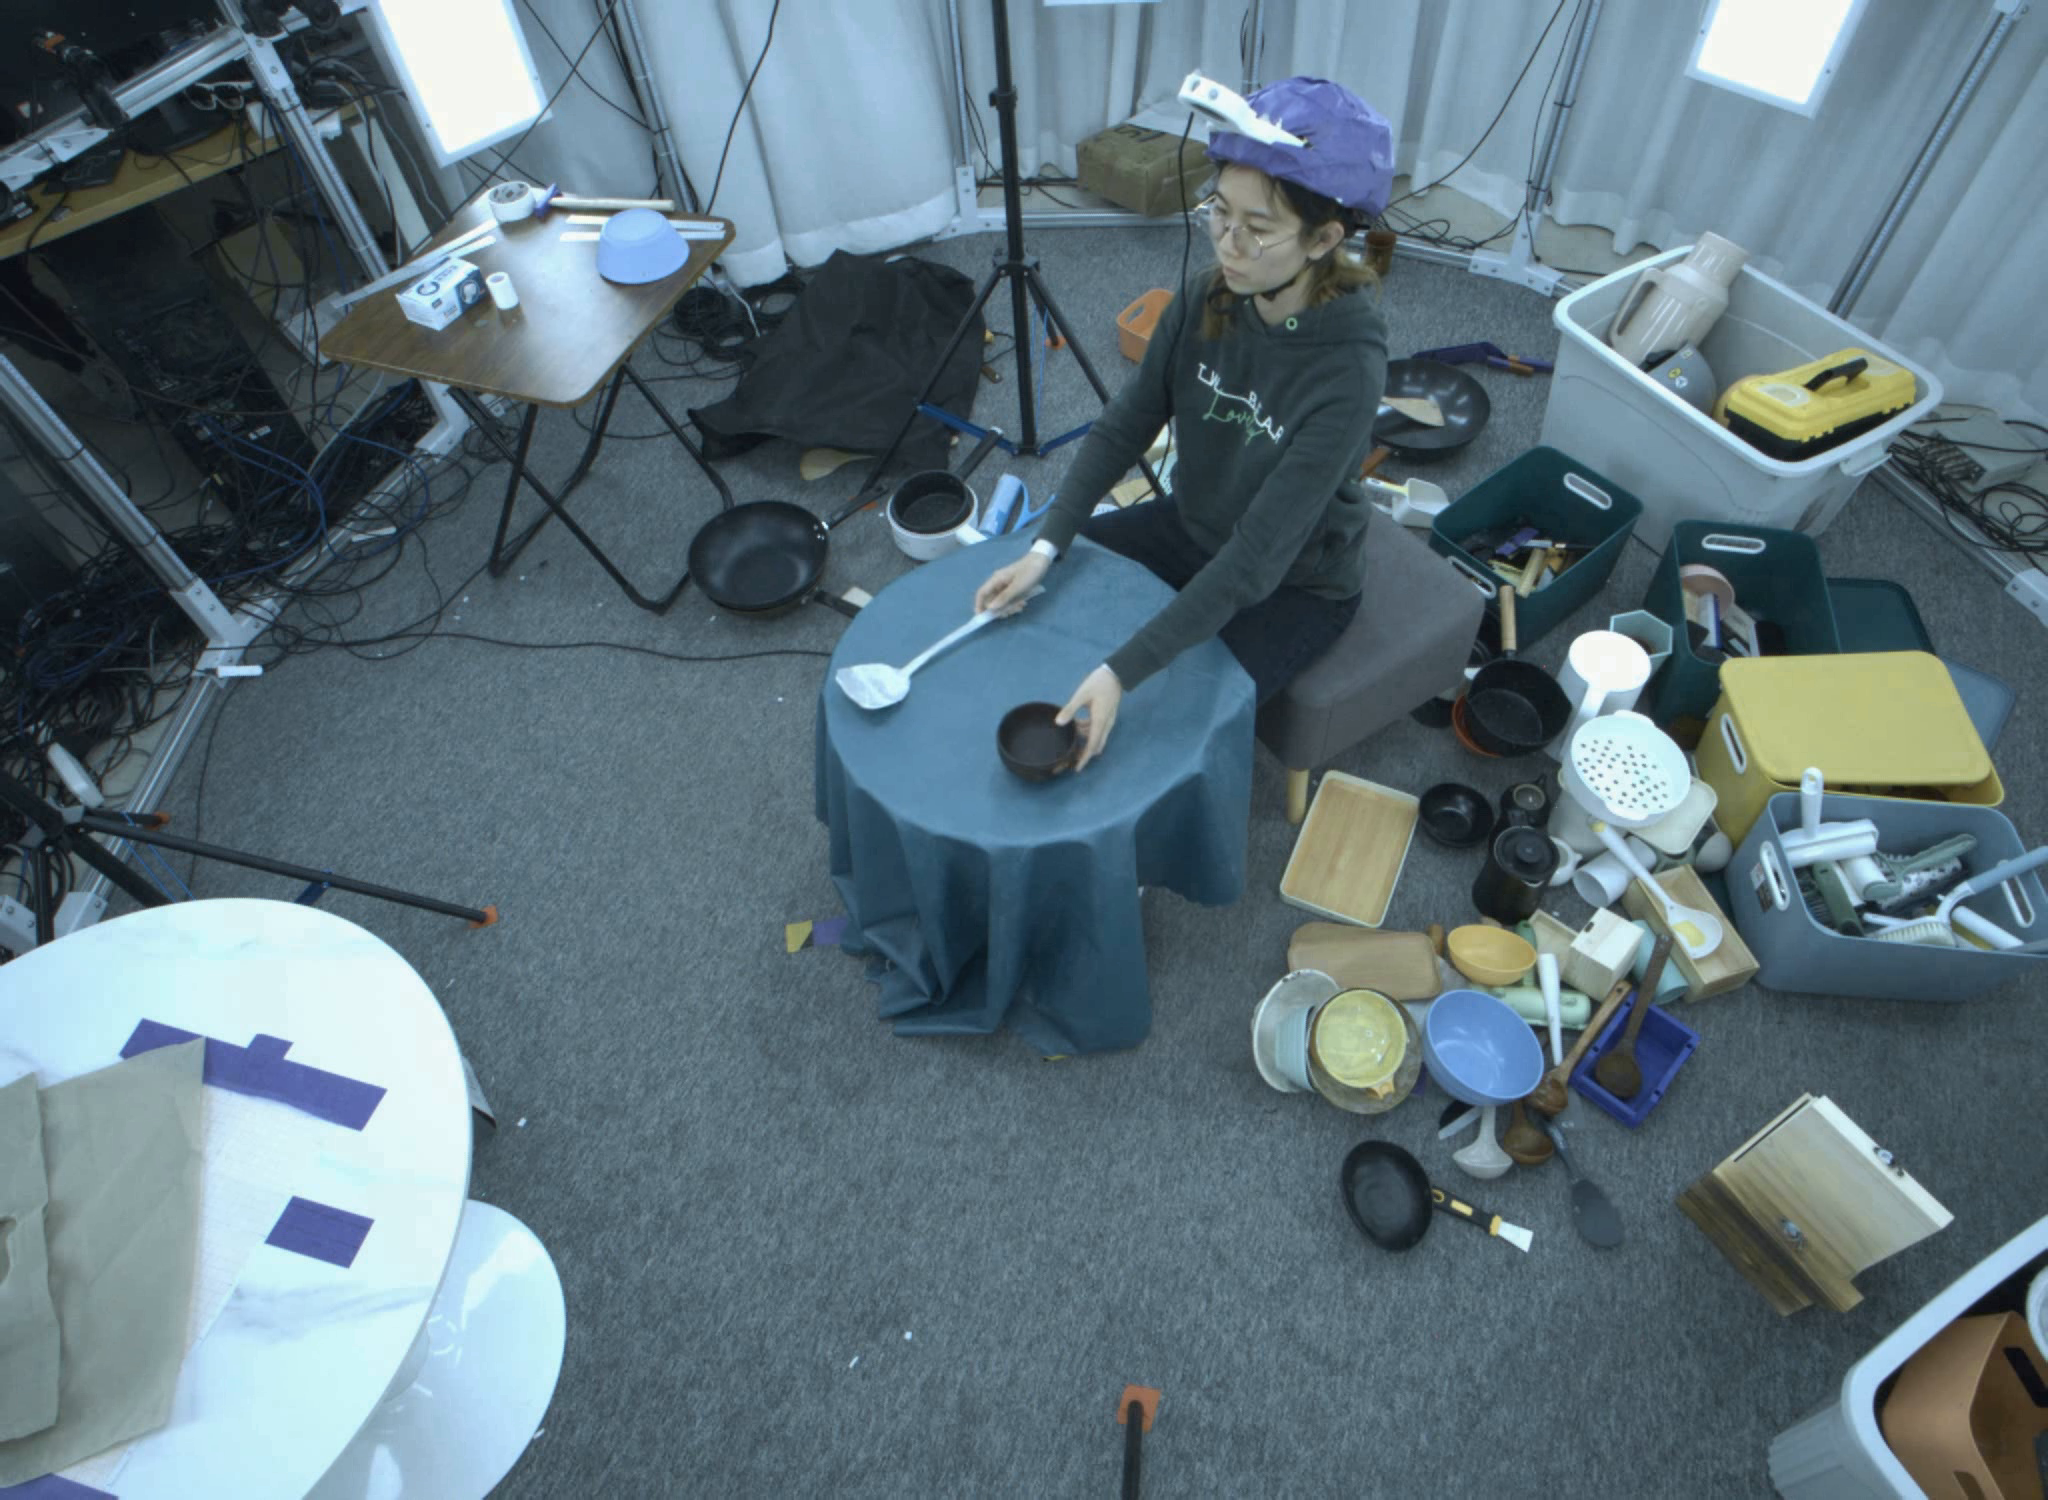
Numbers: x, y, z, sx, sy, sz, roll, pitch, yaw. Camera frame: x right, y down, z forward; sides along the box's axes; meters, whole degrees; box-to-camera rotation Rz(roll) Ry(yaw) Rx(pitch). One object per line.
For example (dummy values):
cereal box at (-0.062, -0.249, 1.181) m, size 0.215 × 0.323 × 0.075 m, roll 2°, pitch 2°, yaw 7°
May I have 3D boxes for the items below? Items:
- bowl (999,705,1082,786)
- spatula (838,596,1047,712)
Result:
bowl at (0.023, 0.001, 1.753) m, size 0.118 × 0.070 × 0.117 m, roll 1°, pitch 54°, yaw 0°
spatula at (-0.116, -0.162, 1.889) m, size 0.367 × 0.045 × 0.097 m, roll -34°, pitch 59°, yaw -19°
